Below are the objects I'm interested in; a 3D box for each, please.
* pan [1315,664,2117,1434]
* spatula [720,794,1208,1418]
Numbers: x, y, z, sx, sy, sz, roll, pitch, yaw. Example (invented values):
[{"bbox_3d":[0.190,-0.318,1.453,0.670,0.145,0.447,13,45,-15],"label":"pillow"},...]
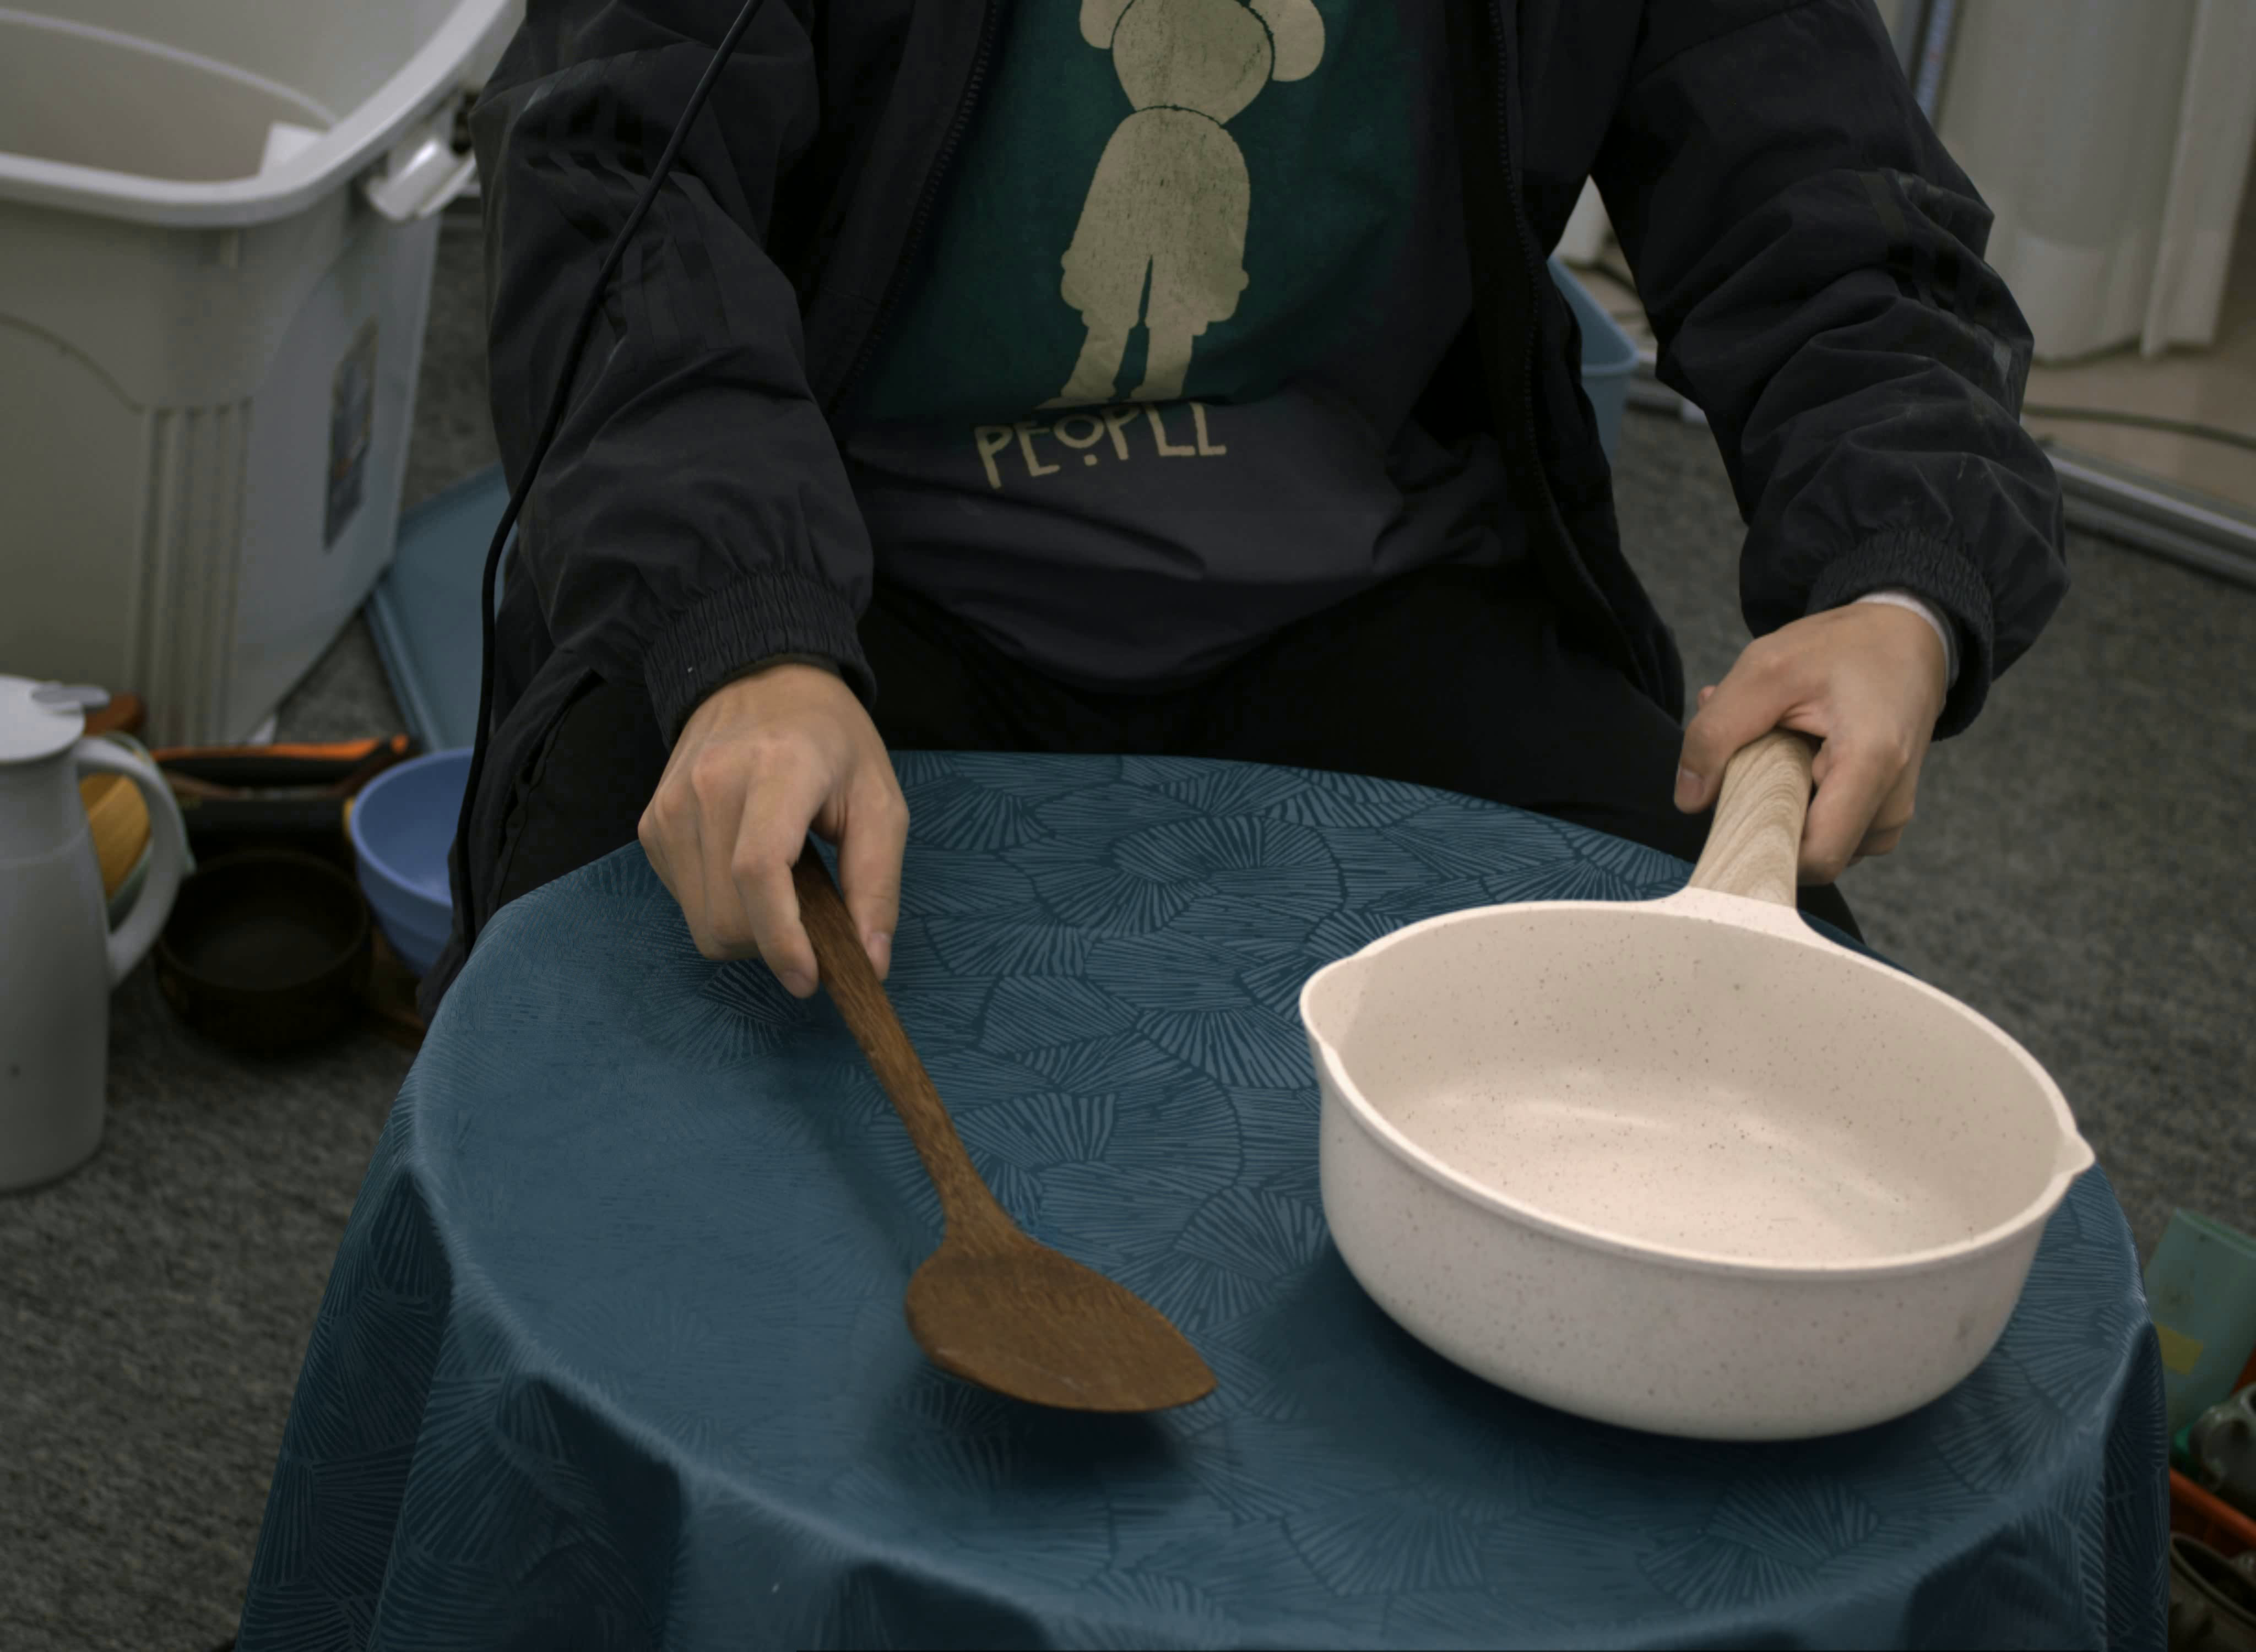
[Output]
[{"bbox_3d":[0.206,0.071,1.826,0.263,0.102,0.436,10,25,8],"label":"pan"},{"bbox_3d":[-0.075,0.085,1.783,0.095,0.016,0.389,5,28,-24],"label":"spatula"}]
